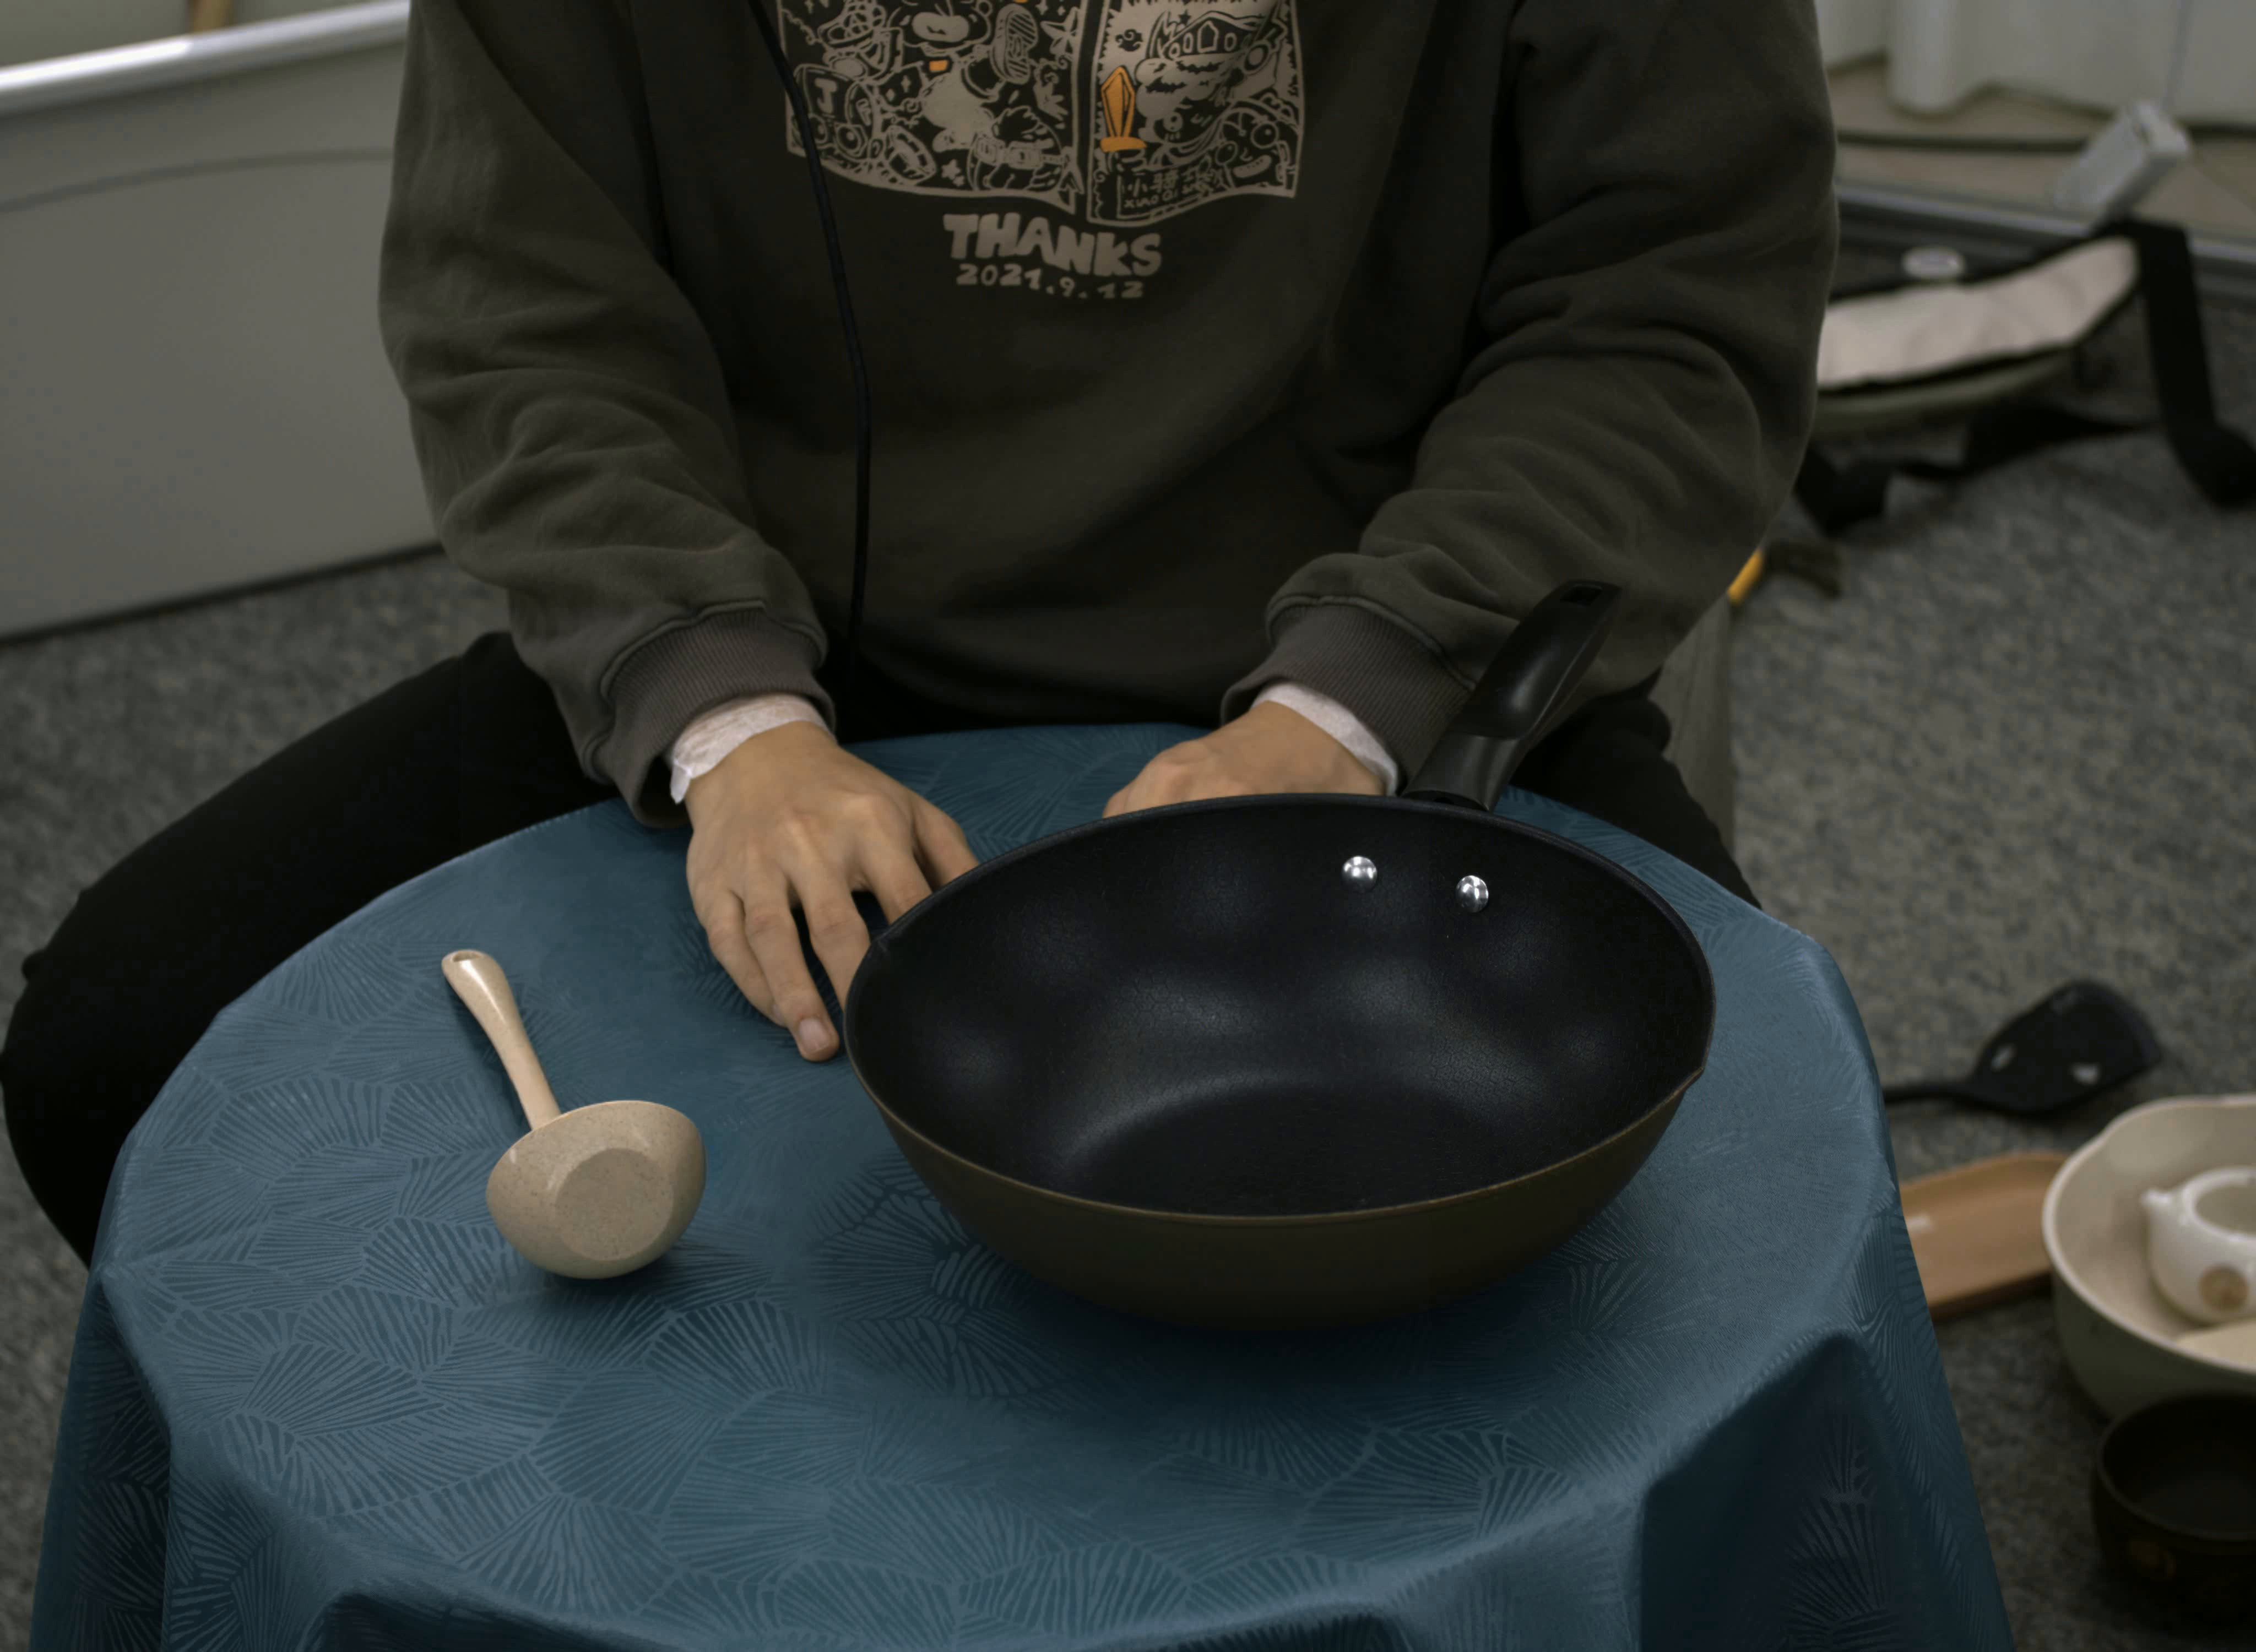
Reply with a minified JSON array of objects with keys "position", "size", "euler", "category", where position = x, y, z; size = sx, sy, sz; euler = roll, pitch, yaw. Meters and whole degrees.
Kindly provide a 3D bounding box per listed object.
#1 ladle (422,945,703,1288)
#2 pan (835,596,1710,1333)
[{"position":[-0.207,0.072,1.898],"size":[0.072,0.072,0.256],"euler":[-18,32,-14],"category":"ladle"},{"position":[0.084,0.048,1.905],"size":[0.286,0.086,0.471],"euler":[9,29,21],"category":"pan"}]
